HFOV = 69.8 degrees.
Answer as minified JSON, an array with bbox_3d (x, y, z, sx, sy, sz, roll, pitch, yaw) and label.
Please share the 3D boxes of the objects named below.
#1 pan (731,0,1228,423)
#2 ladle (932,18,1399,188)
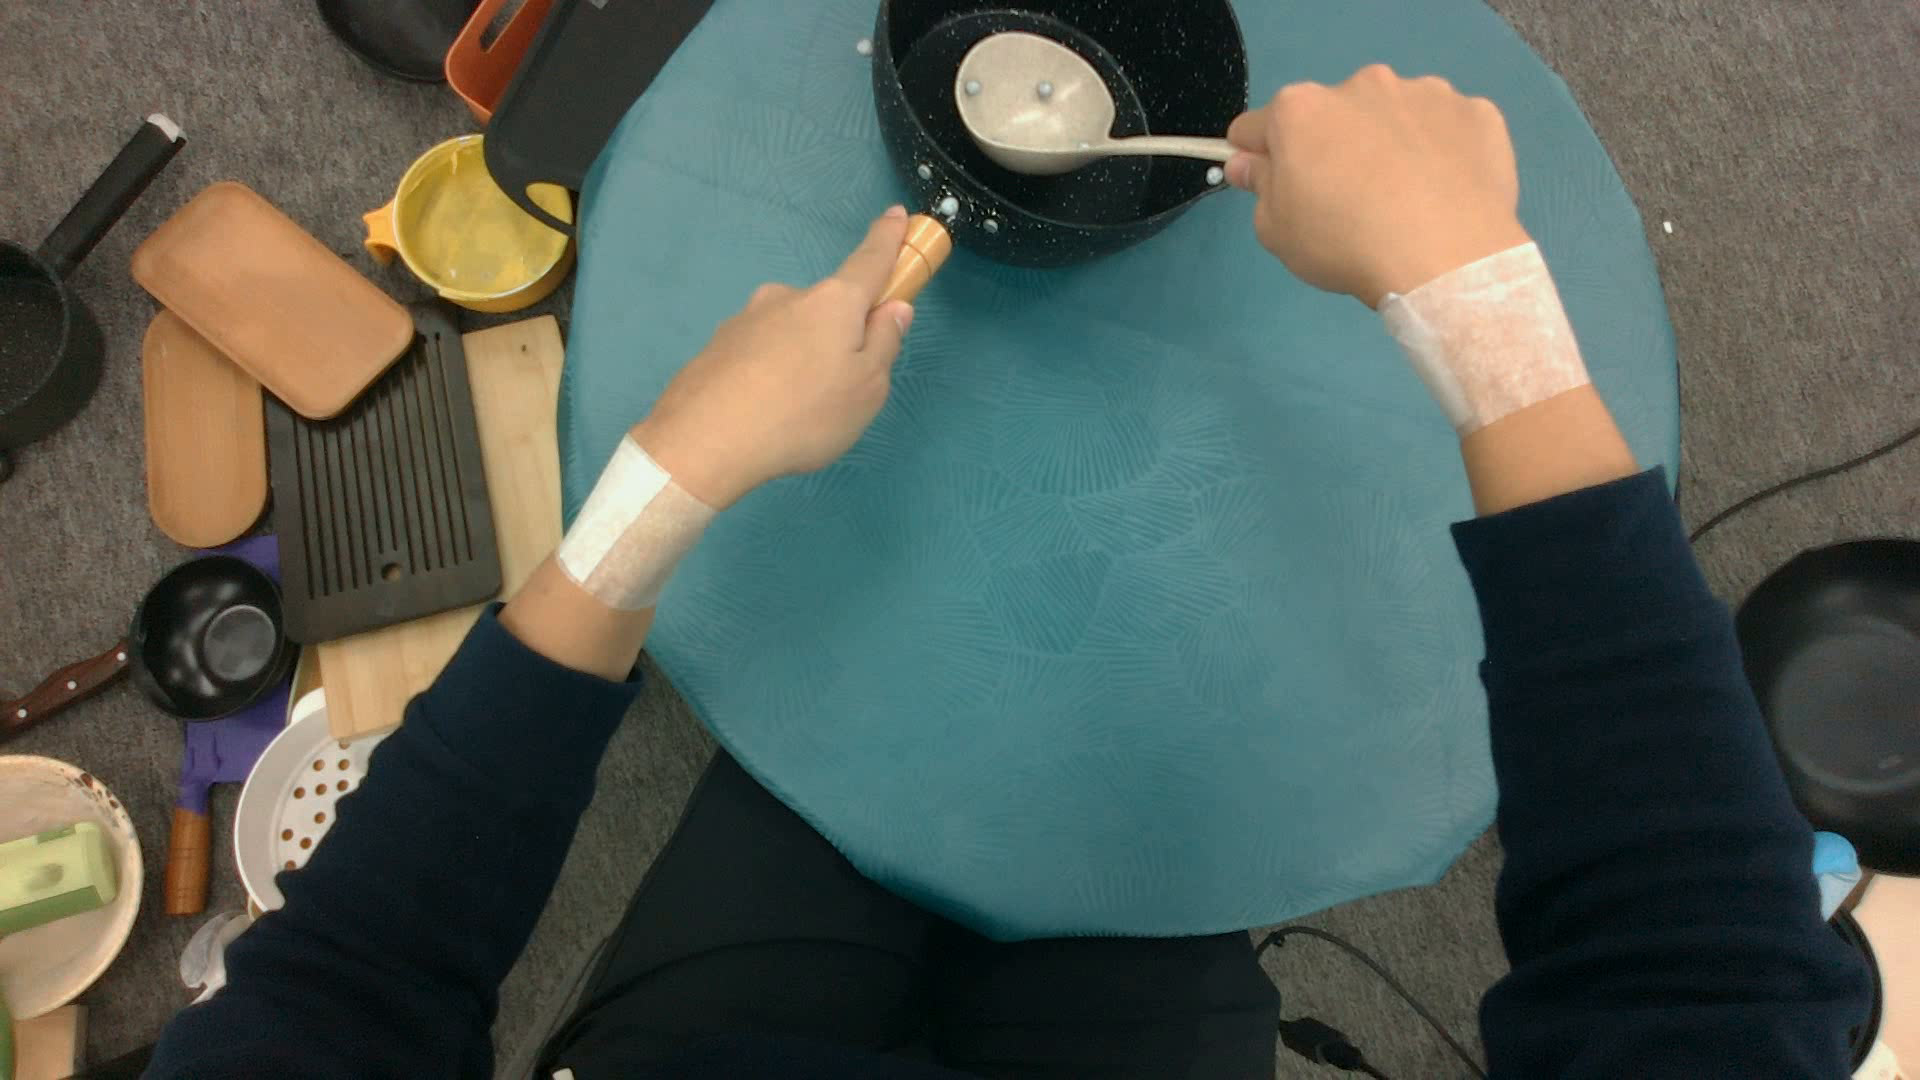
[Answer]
[{"bbox_3d":[-0.005,-0.173,0.658,0.207,0.108,0.344,36,69,-6],"label":"pan"},{"bbox_3d":[0.086,-0.202,0.620,0.089,0.274,0.069,-16,114,-30],"label":"ladle"}]
